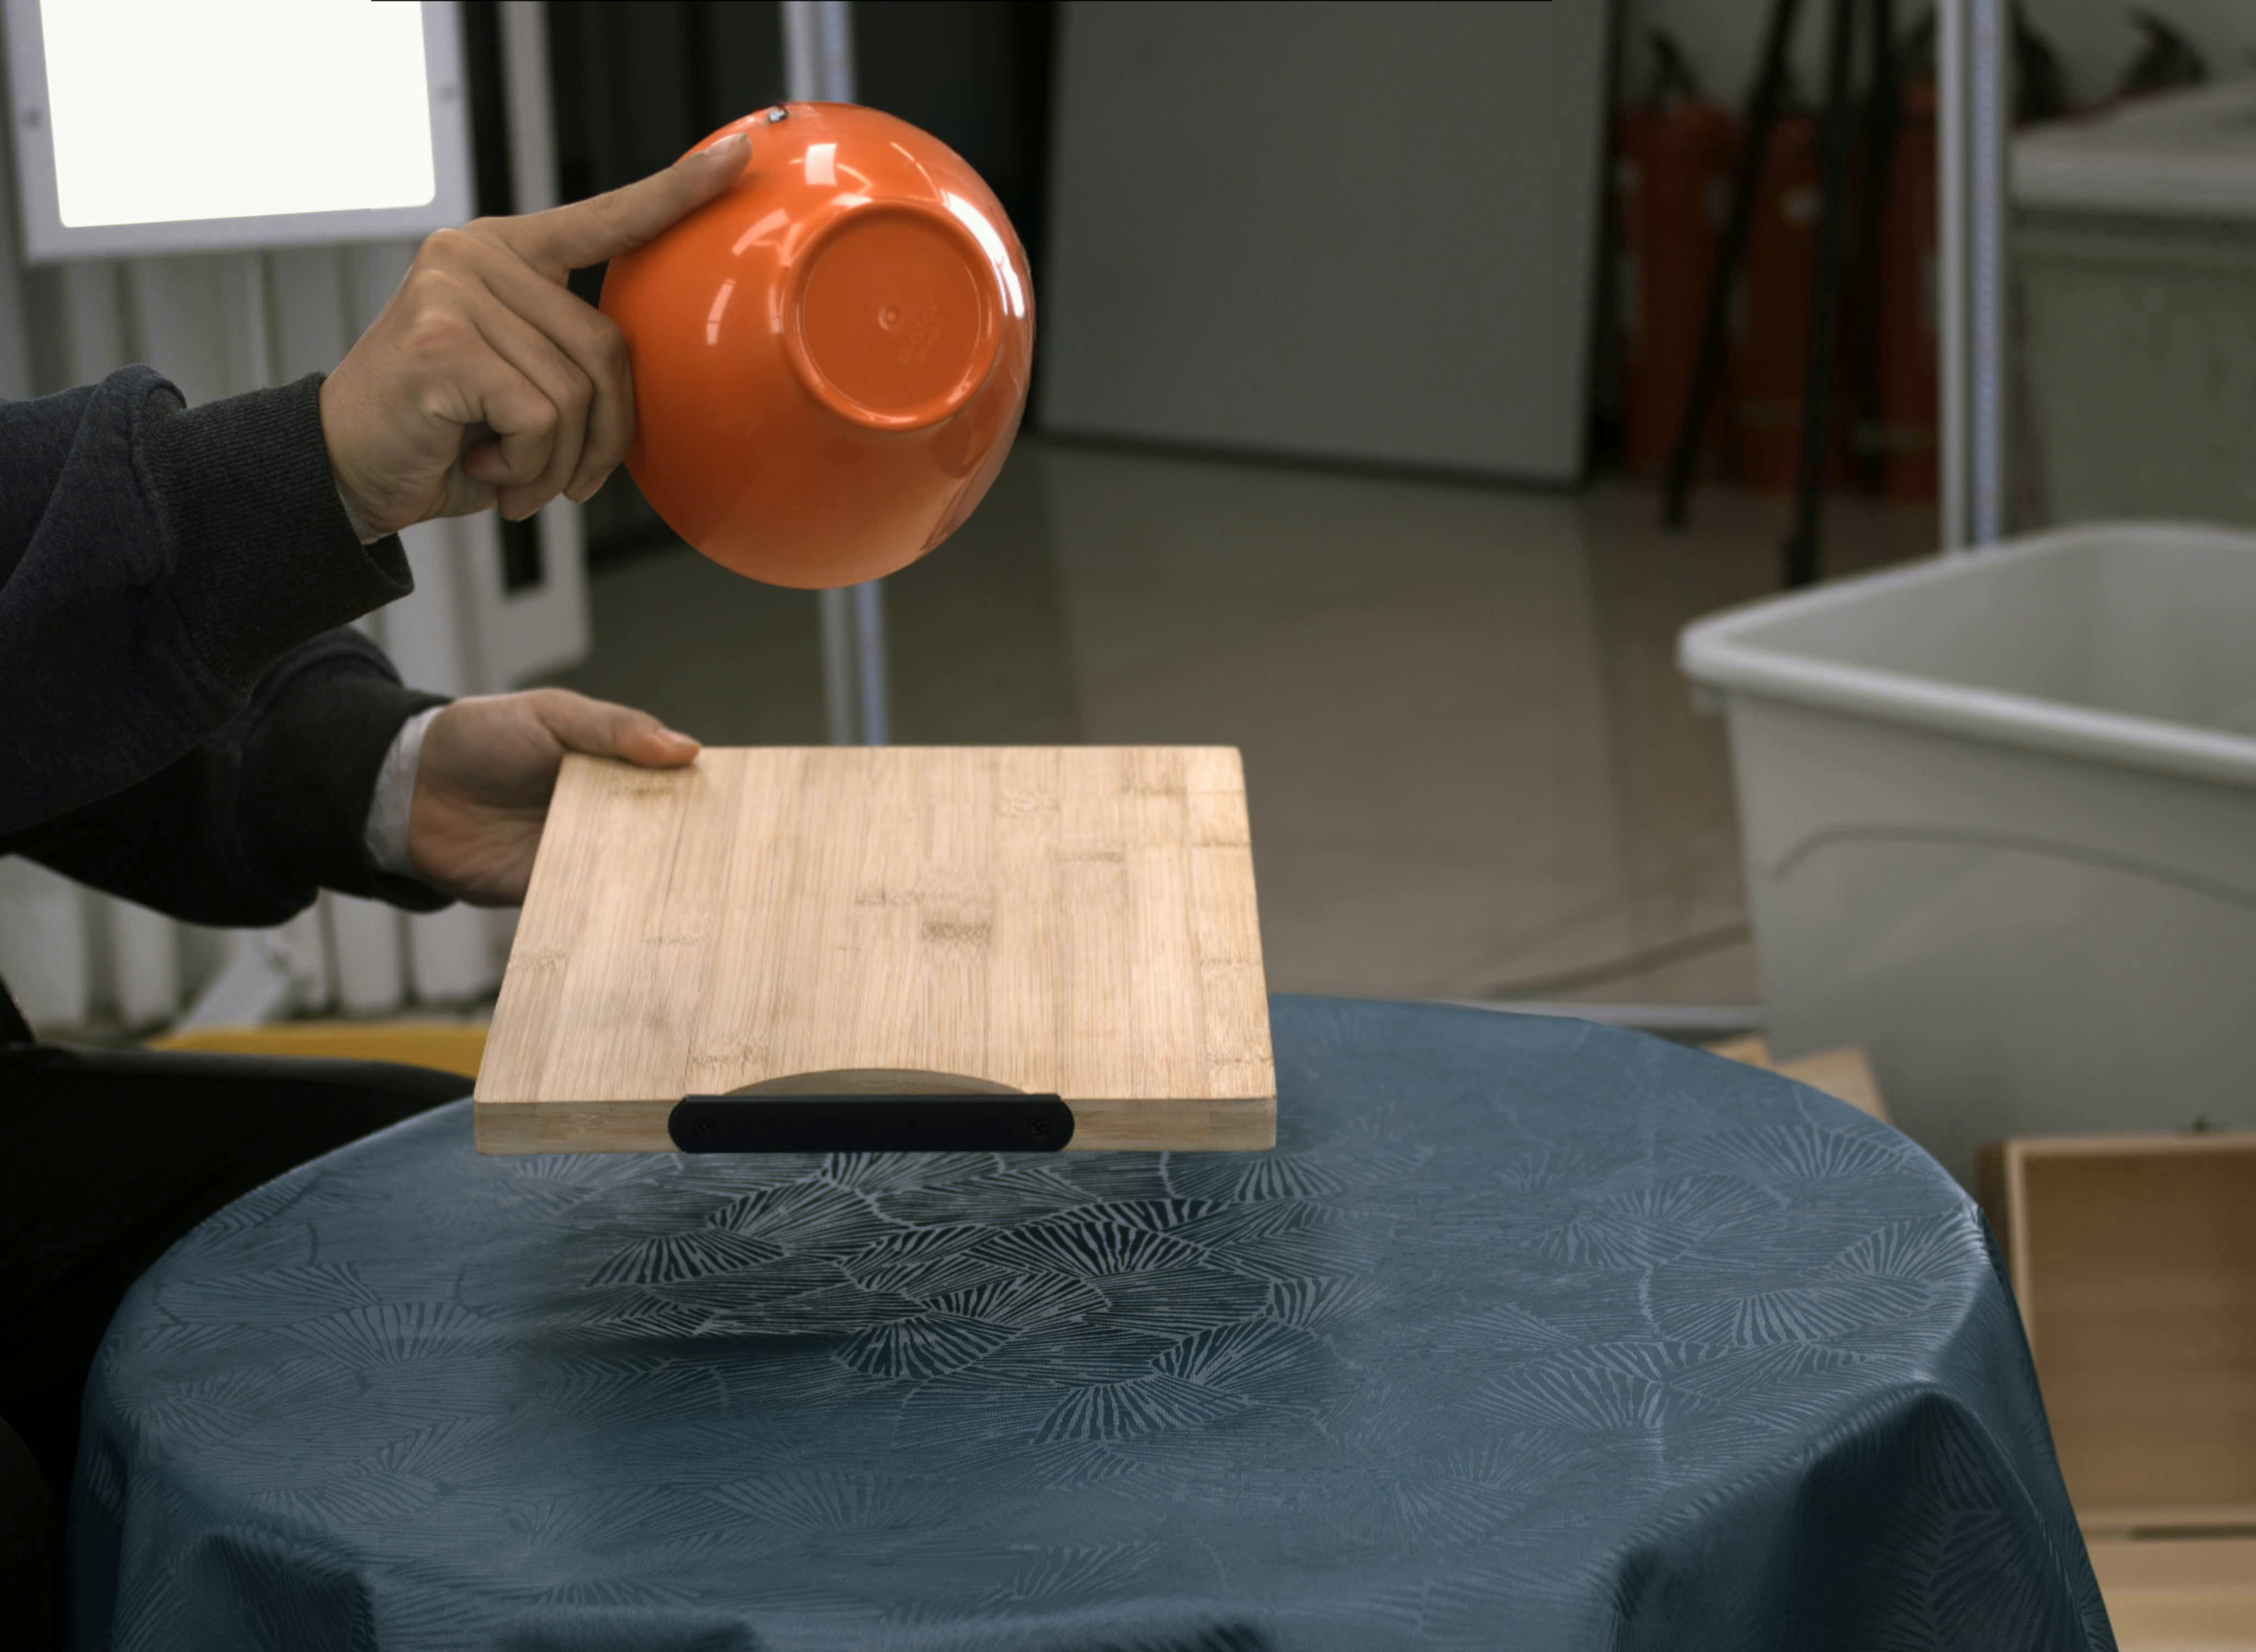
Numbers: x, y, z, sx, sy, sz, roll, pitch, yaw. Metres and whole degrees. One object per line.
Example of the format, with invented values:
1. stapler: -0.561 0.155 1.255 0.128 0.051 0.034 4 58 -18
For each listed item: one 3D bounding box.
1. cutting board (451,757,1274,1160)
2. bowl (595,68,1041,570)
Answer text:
1. cutting board: -0.077 0.037 1.736 0.247 0.024 0.349 -1 18 0
2. bowl: -0.077 -0.149 1.585 0.145 0.150 0.105 -8 6 -19
